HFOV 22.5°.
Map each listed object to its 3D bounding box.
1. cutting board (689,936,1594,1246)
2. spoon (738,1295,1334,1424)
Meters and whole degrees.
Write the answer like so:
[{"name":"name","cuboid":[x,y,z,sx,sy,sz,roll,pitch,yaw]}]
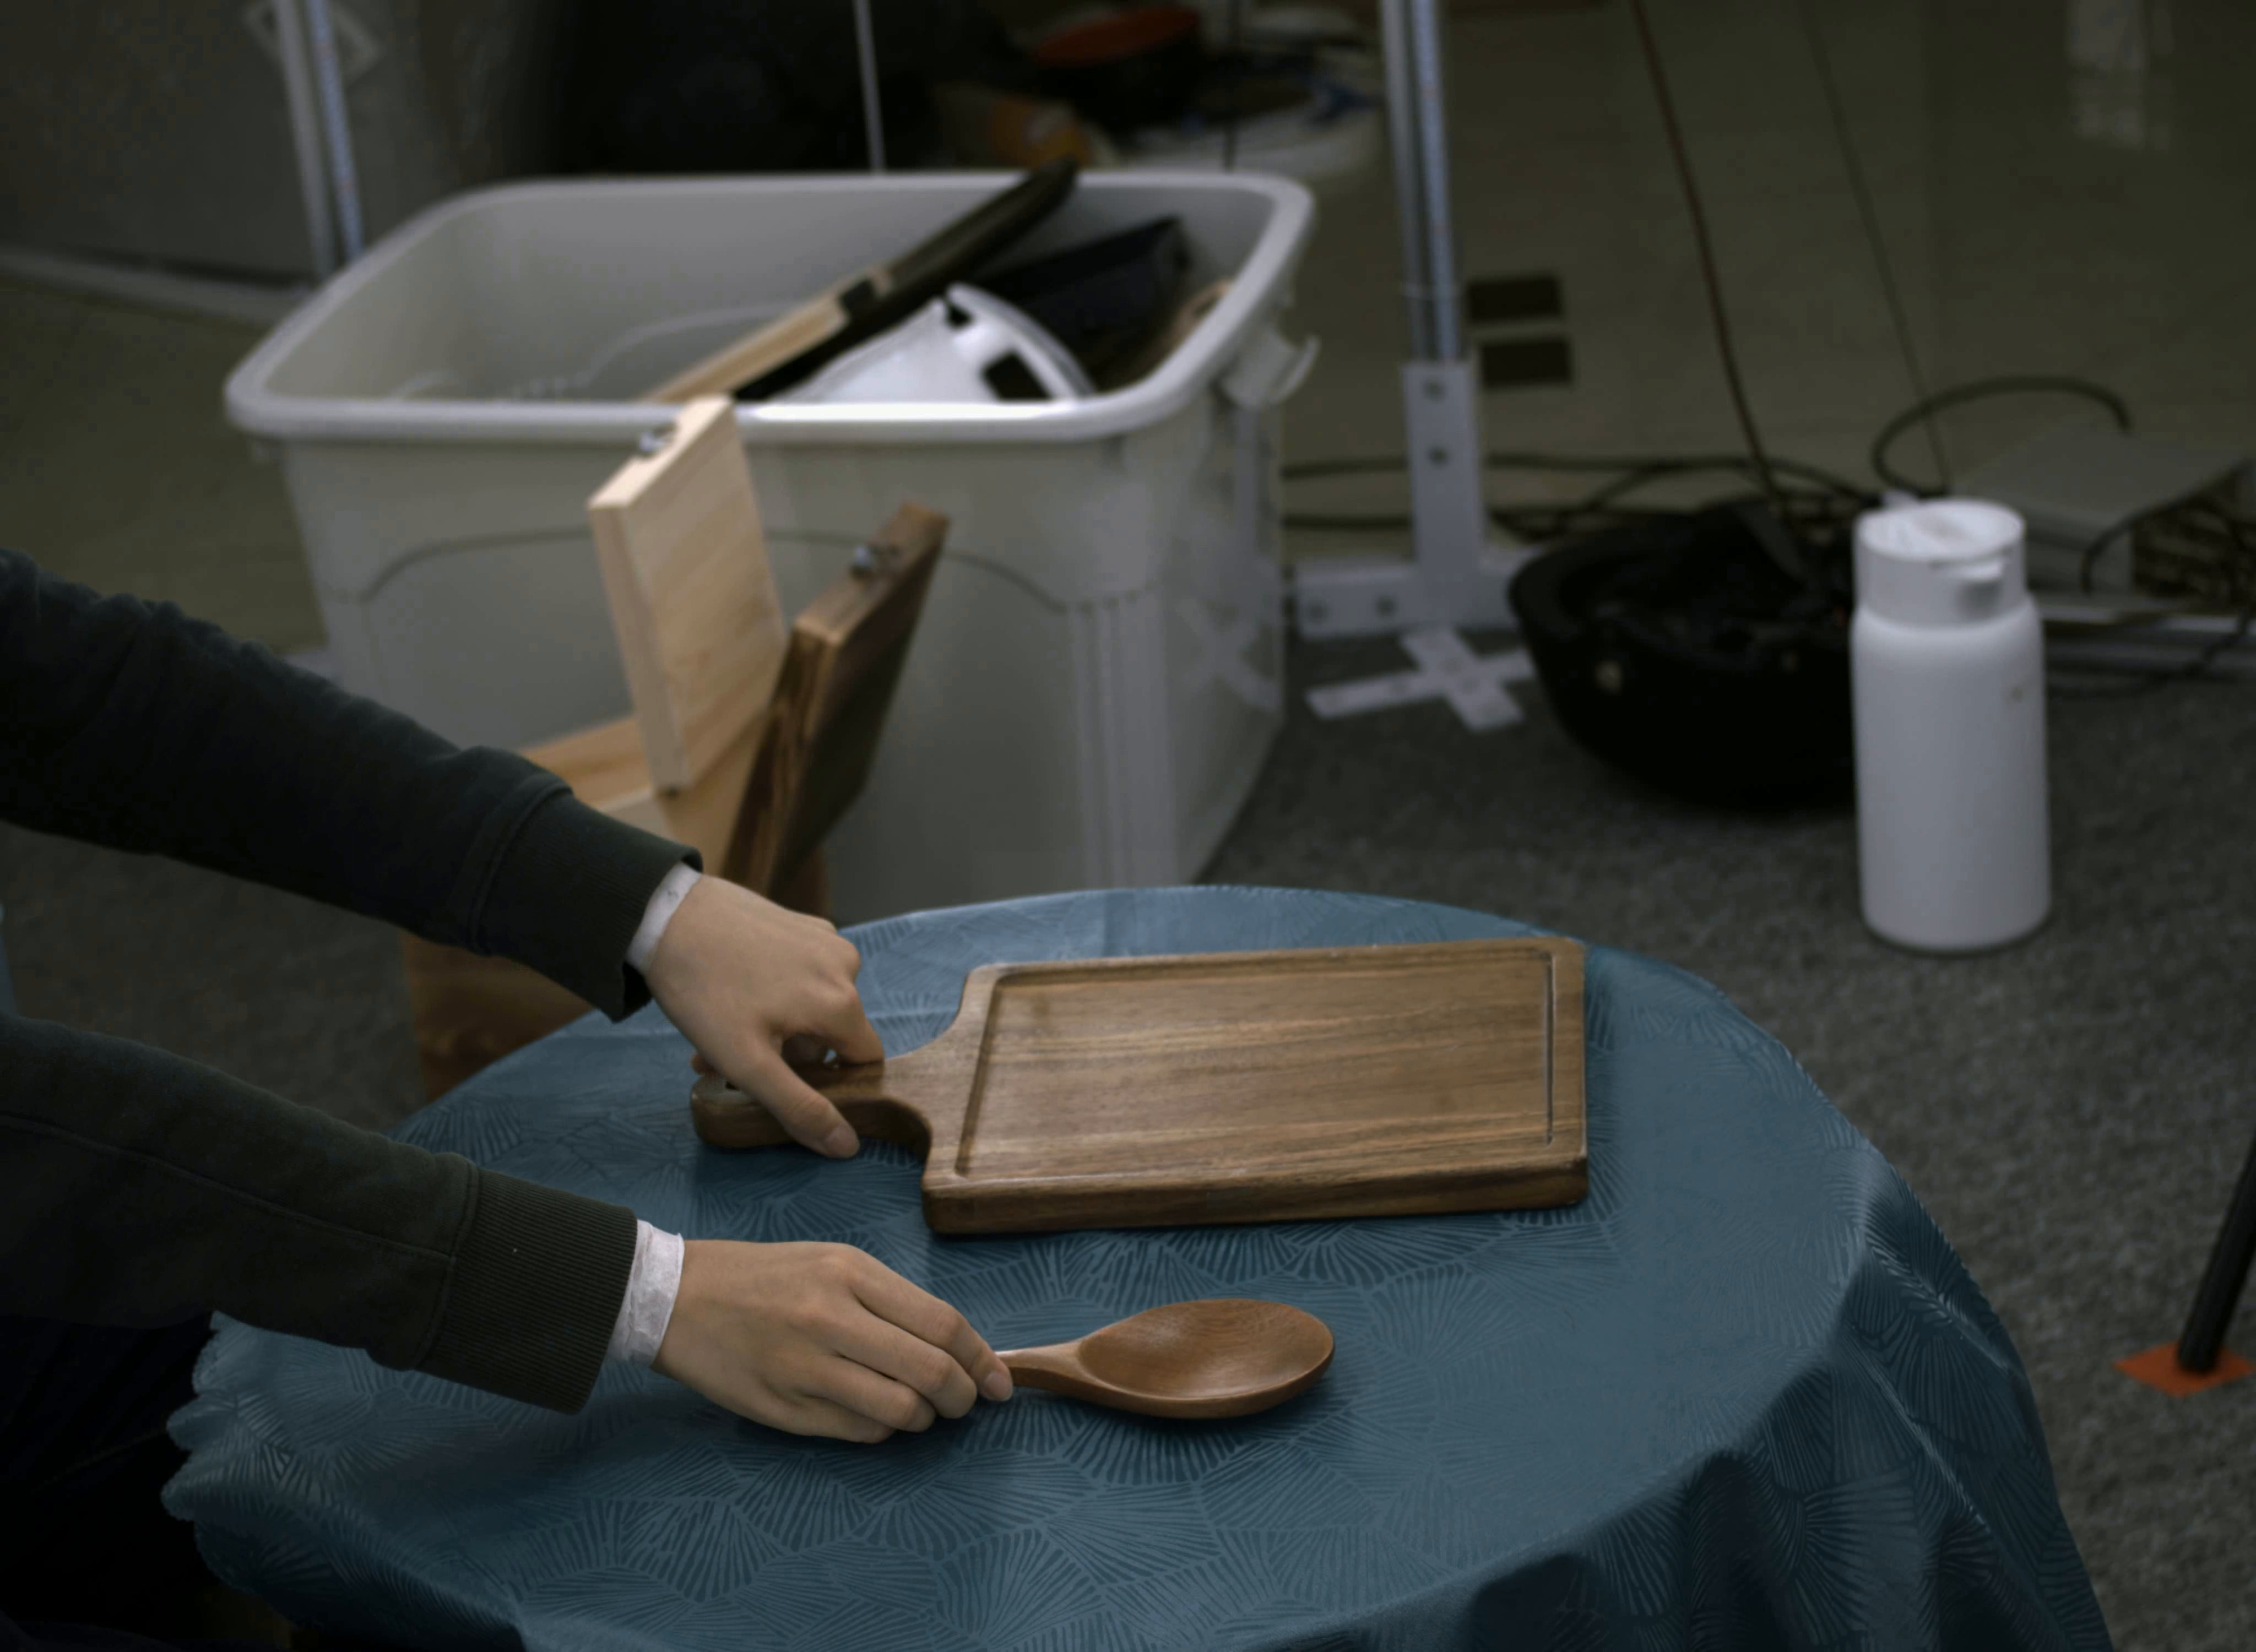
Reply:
[{"name":"cutting board","cuboid":[0.004,0.103,2.204,0.351,0.023,0.198,-3,26,6]},{"name":"spoon","cuboid":[-0.033,0.193,2.023,0.215,0.017,0.074,-2,27,9]}]
